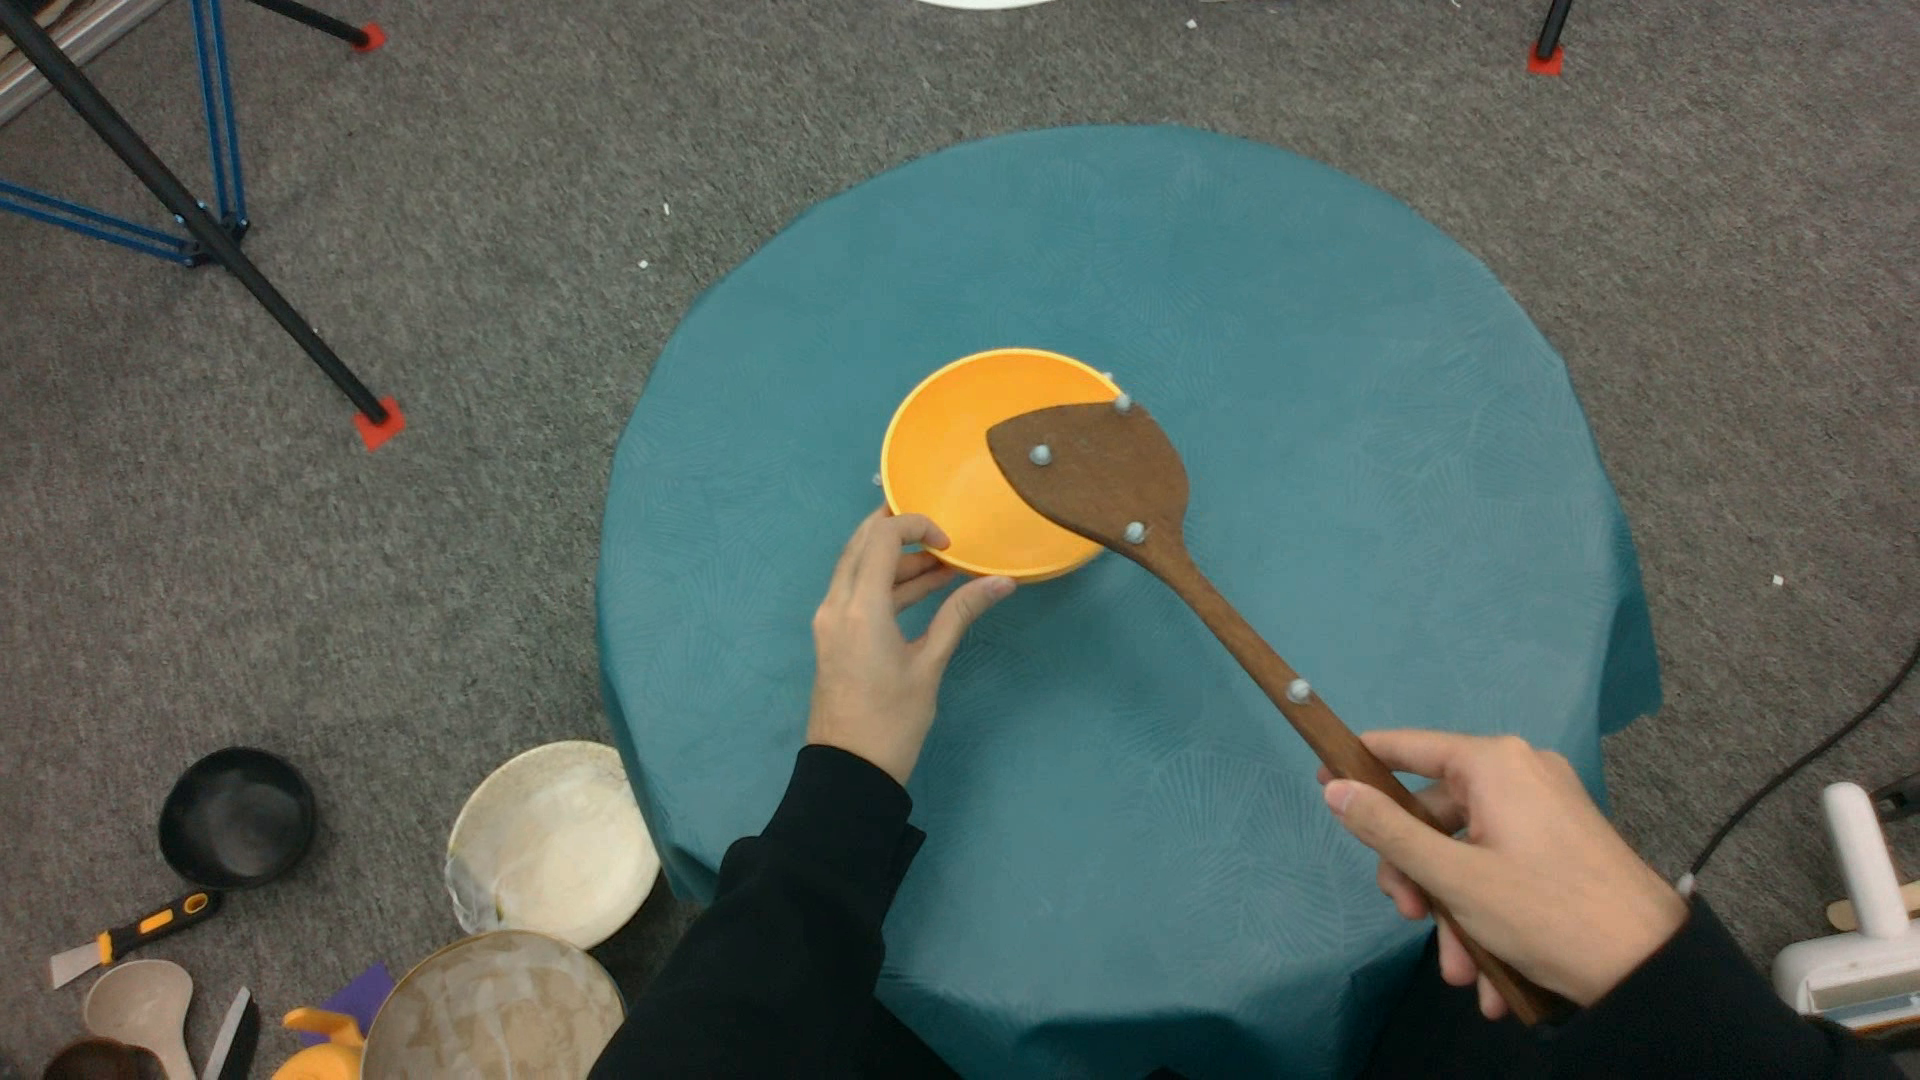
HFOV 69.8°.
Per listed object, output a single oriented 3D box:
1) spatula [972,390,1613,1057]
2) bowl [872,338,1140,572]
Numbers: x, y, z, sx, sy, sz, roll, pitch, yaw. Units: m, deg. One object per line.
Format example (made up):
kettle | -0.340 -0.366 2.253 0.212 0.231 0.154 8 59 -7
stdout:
spatula | 0.126 0.048 0.577 0.096 0.015 0.387 -12 44 -25
bowl | 0.027 -0.038 0.763 0.145 0.060 0.146 -3 62 5
